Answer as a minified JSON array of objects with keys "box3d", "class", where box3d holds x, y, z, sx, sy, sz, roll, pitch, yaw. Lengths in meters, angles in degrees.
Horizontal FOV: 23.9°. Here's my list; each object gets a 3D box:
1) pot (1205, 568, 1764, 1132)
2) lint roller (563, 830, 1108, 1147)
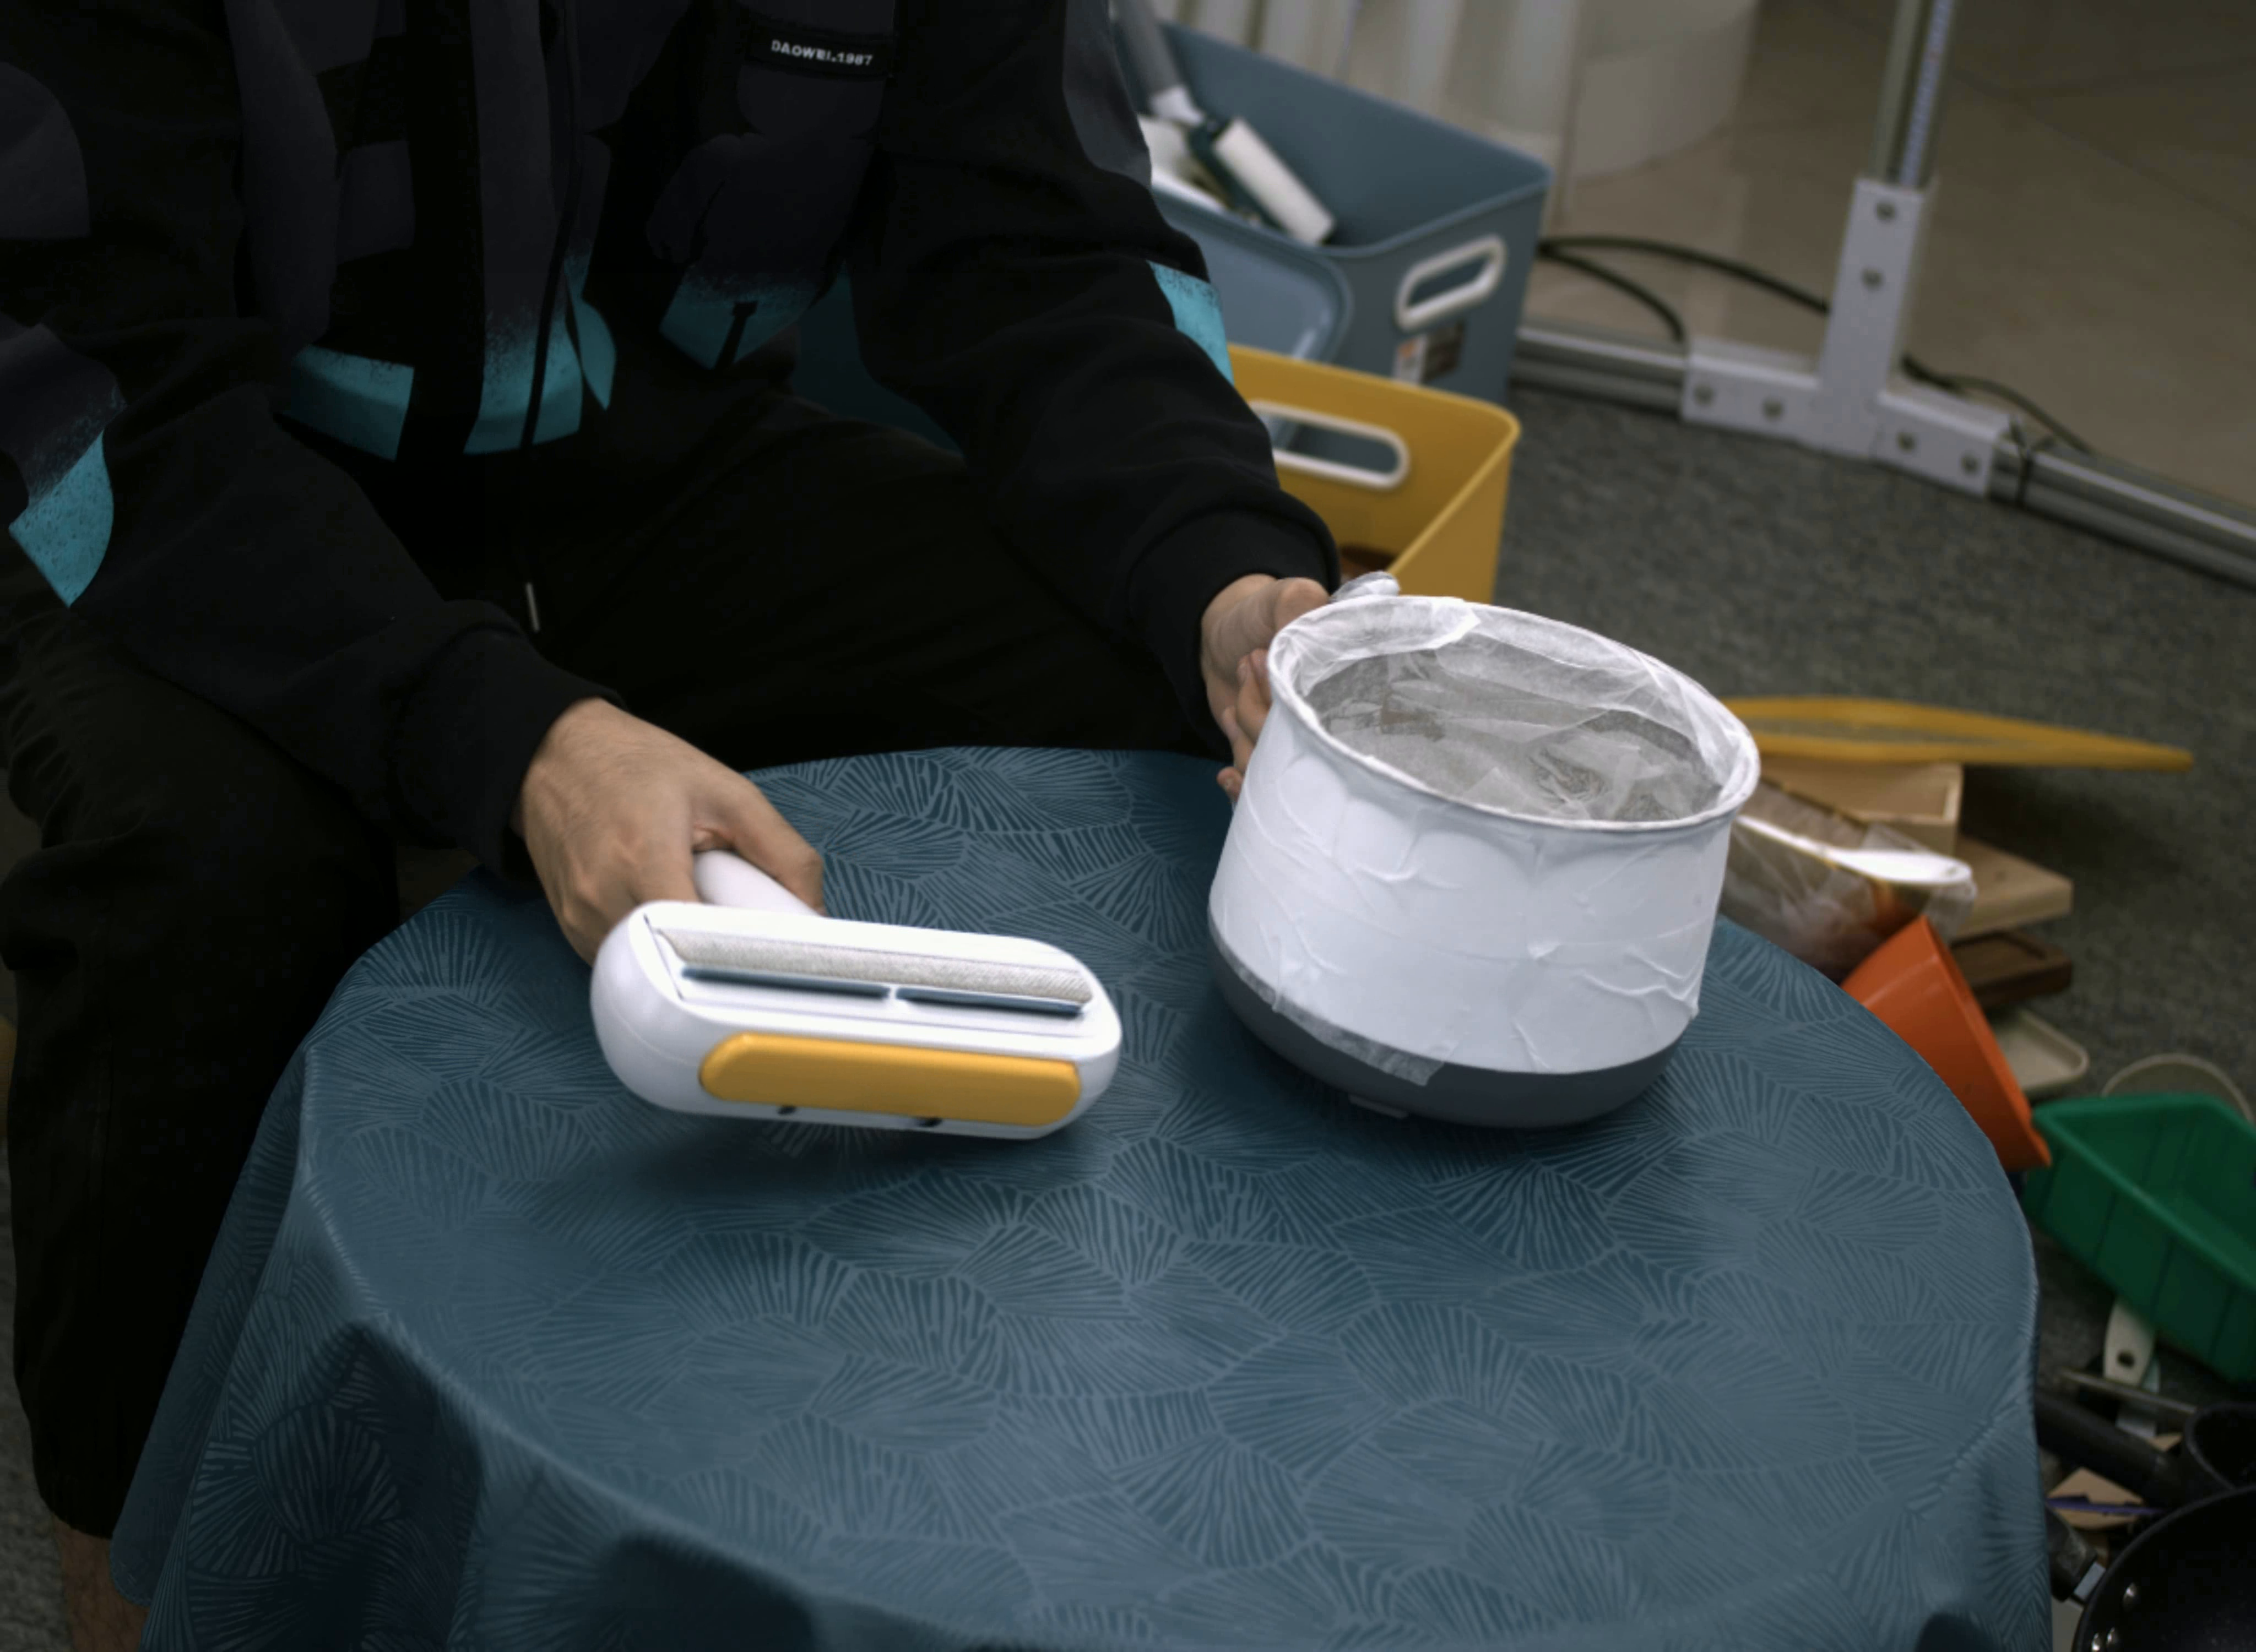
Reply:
[{"box3d":[0.109,0.002,1.898,0.177,0.136,0.236,-1,29,-30],"class":"pot"},{"box3d":[-0.120,0.042,1.836,0.191,0.074,0.194,4,30,-27],"class":"lint roller"}]
